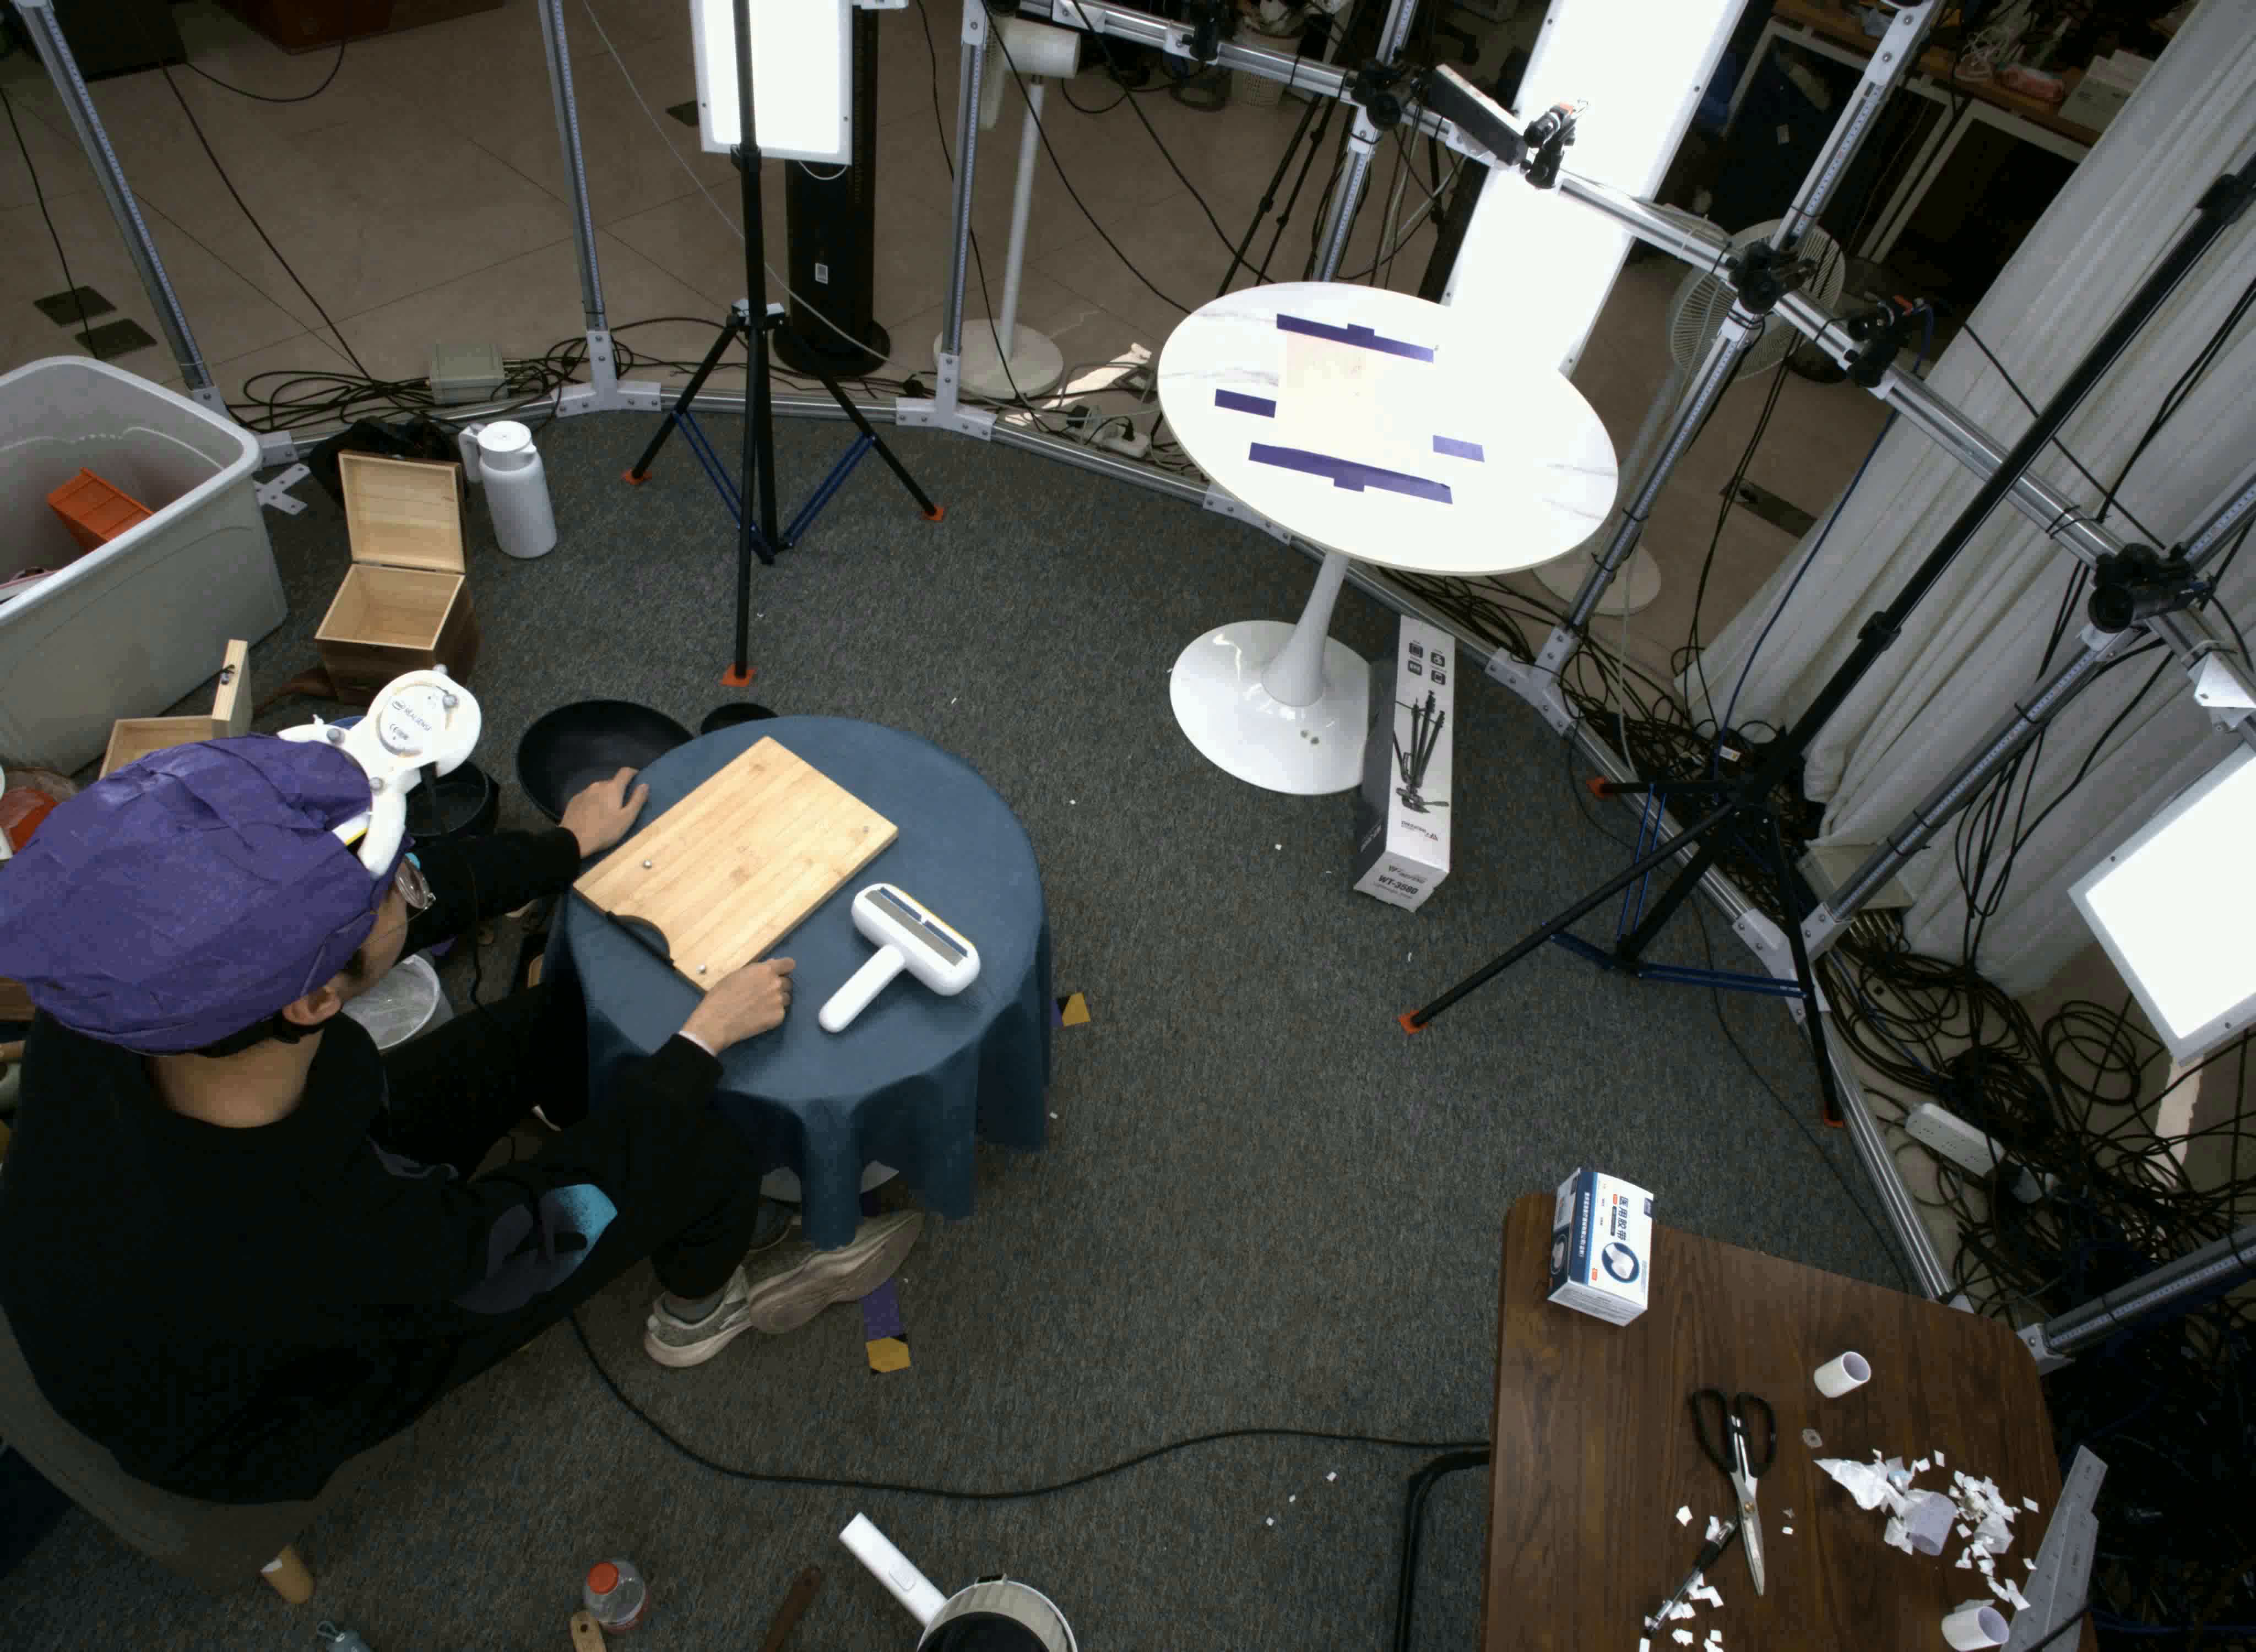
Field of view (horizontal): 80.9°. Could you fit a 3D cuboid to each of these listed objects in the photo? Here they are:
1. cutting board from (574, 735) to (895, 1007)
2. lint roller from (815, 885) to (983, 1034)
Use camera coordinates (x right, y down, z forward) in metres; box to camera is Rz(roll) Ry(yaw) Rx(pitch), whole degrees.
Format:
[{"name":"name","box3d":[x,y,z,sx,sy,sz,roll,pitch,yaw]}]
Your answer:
[{"name":"cutting board","box3d":[-0.503,0.046,1.665,0.246,0.024,0.348,34,53,11]},{"name":"lint roller","box3d":[-0.301,0.176,1.589,0.187,0.076,0.193,40,56,22]}]
